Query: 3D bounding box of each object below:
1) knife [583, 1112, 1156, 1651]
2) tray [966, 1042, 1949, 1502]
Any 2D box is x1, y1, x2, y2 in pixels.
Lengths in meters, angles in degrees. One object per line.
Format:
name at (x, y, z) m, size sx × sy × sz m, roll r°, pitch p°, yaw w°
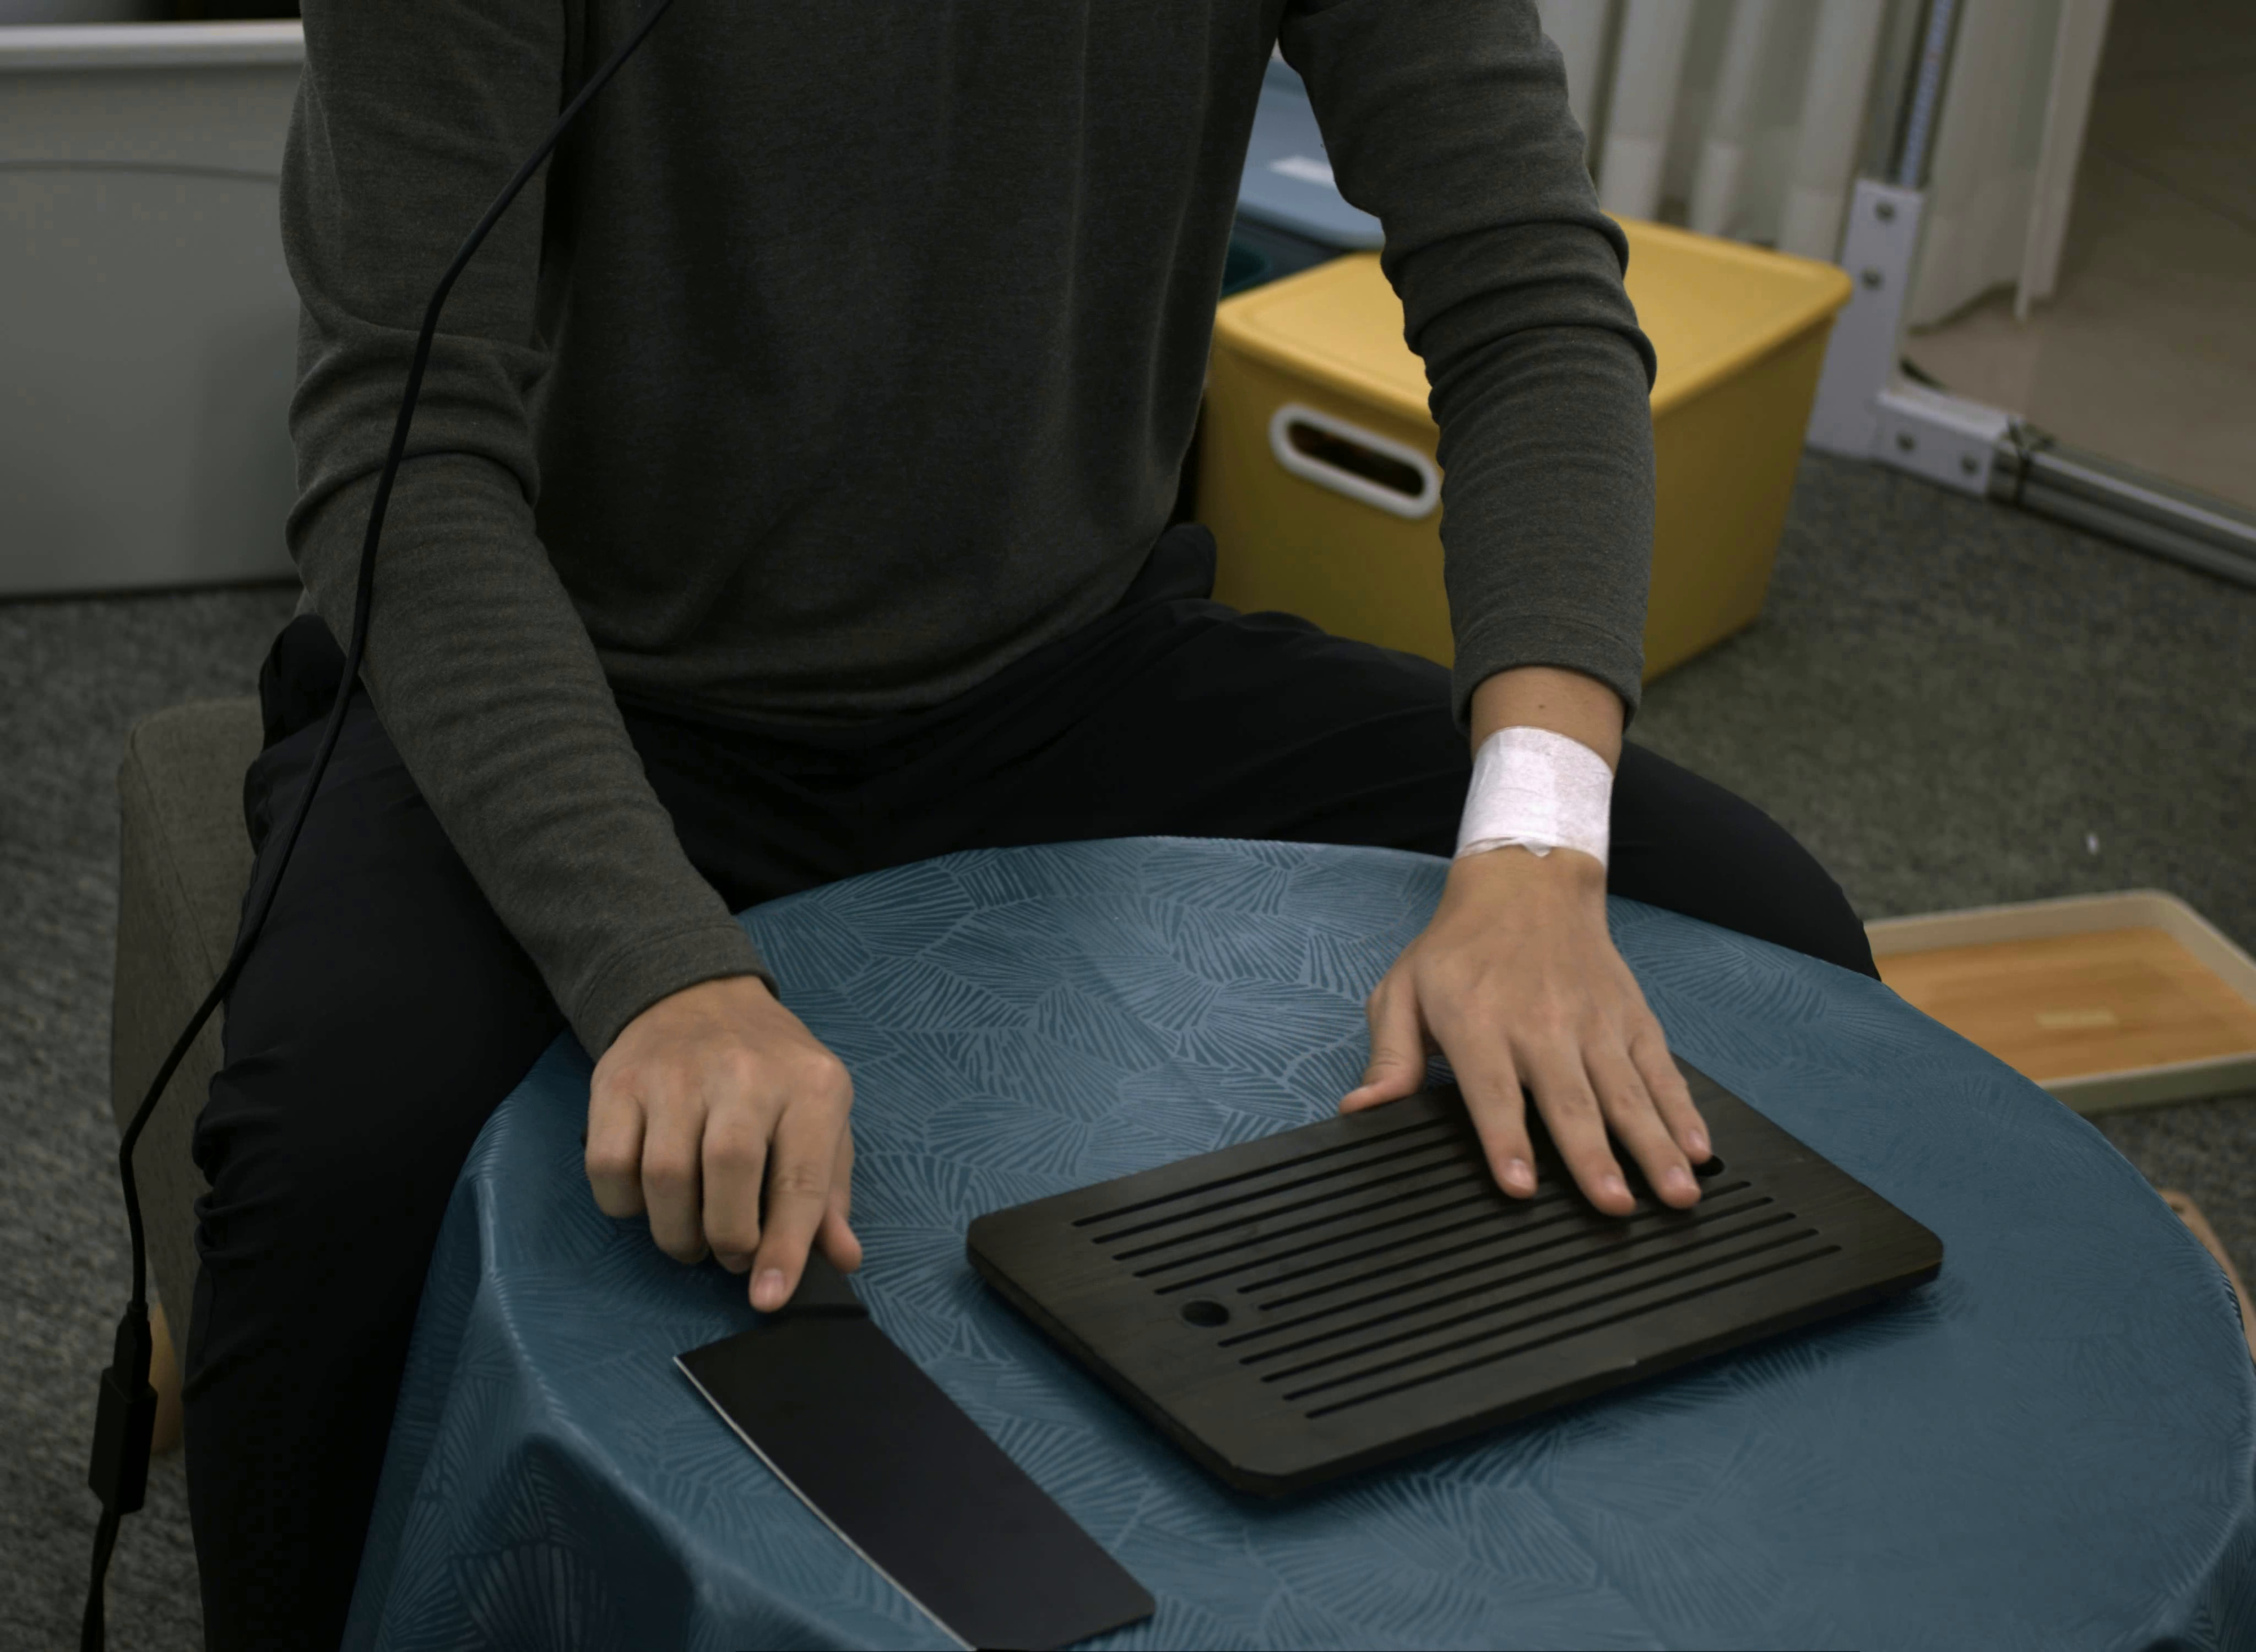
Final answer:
knife at (-0.096, 0.172, 1.674) m, size 0.080 × 0.021 × 0.305 m, roll -12°, pitch 34°, yaw -27°
tray at (0.111, 0.145, 1.768) m, size 0.304 × 0.018 × 0.171 m, roll -13°, pitch 32°, yaw -34°
